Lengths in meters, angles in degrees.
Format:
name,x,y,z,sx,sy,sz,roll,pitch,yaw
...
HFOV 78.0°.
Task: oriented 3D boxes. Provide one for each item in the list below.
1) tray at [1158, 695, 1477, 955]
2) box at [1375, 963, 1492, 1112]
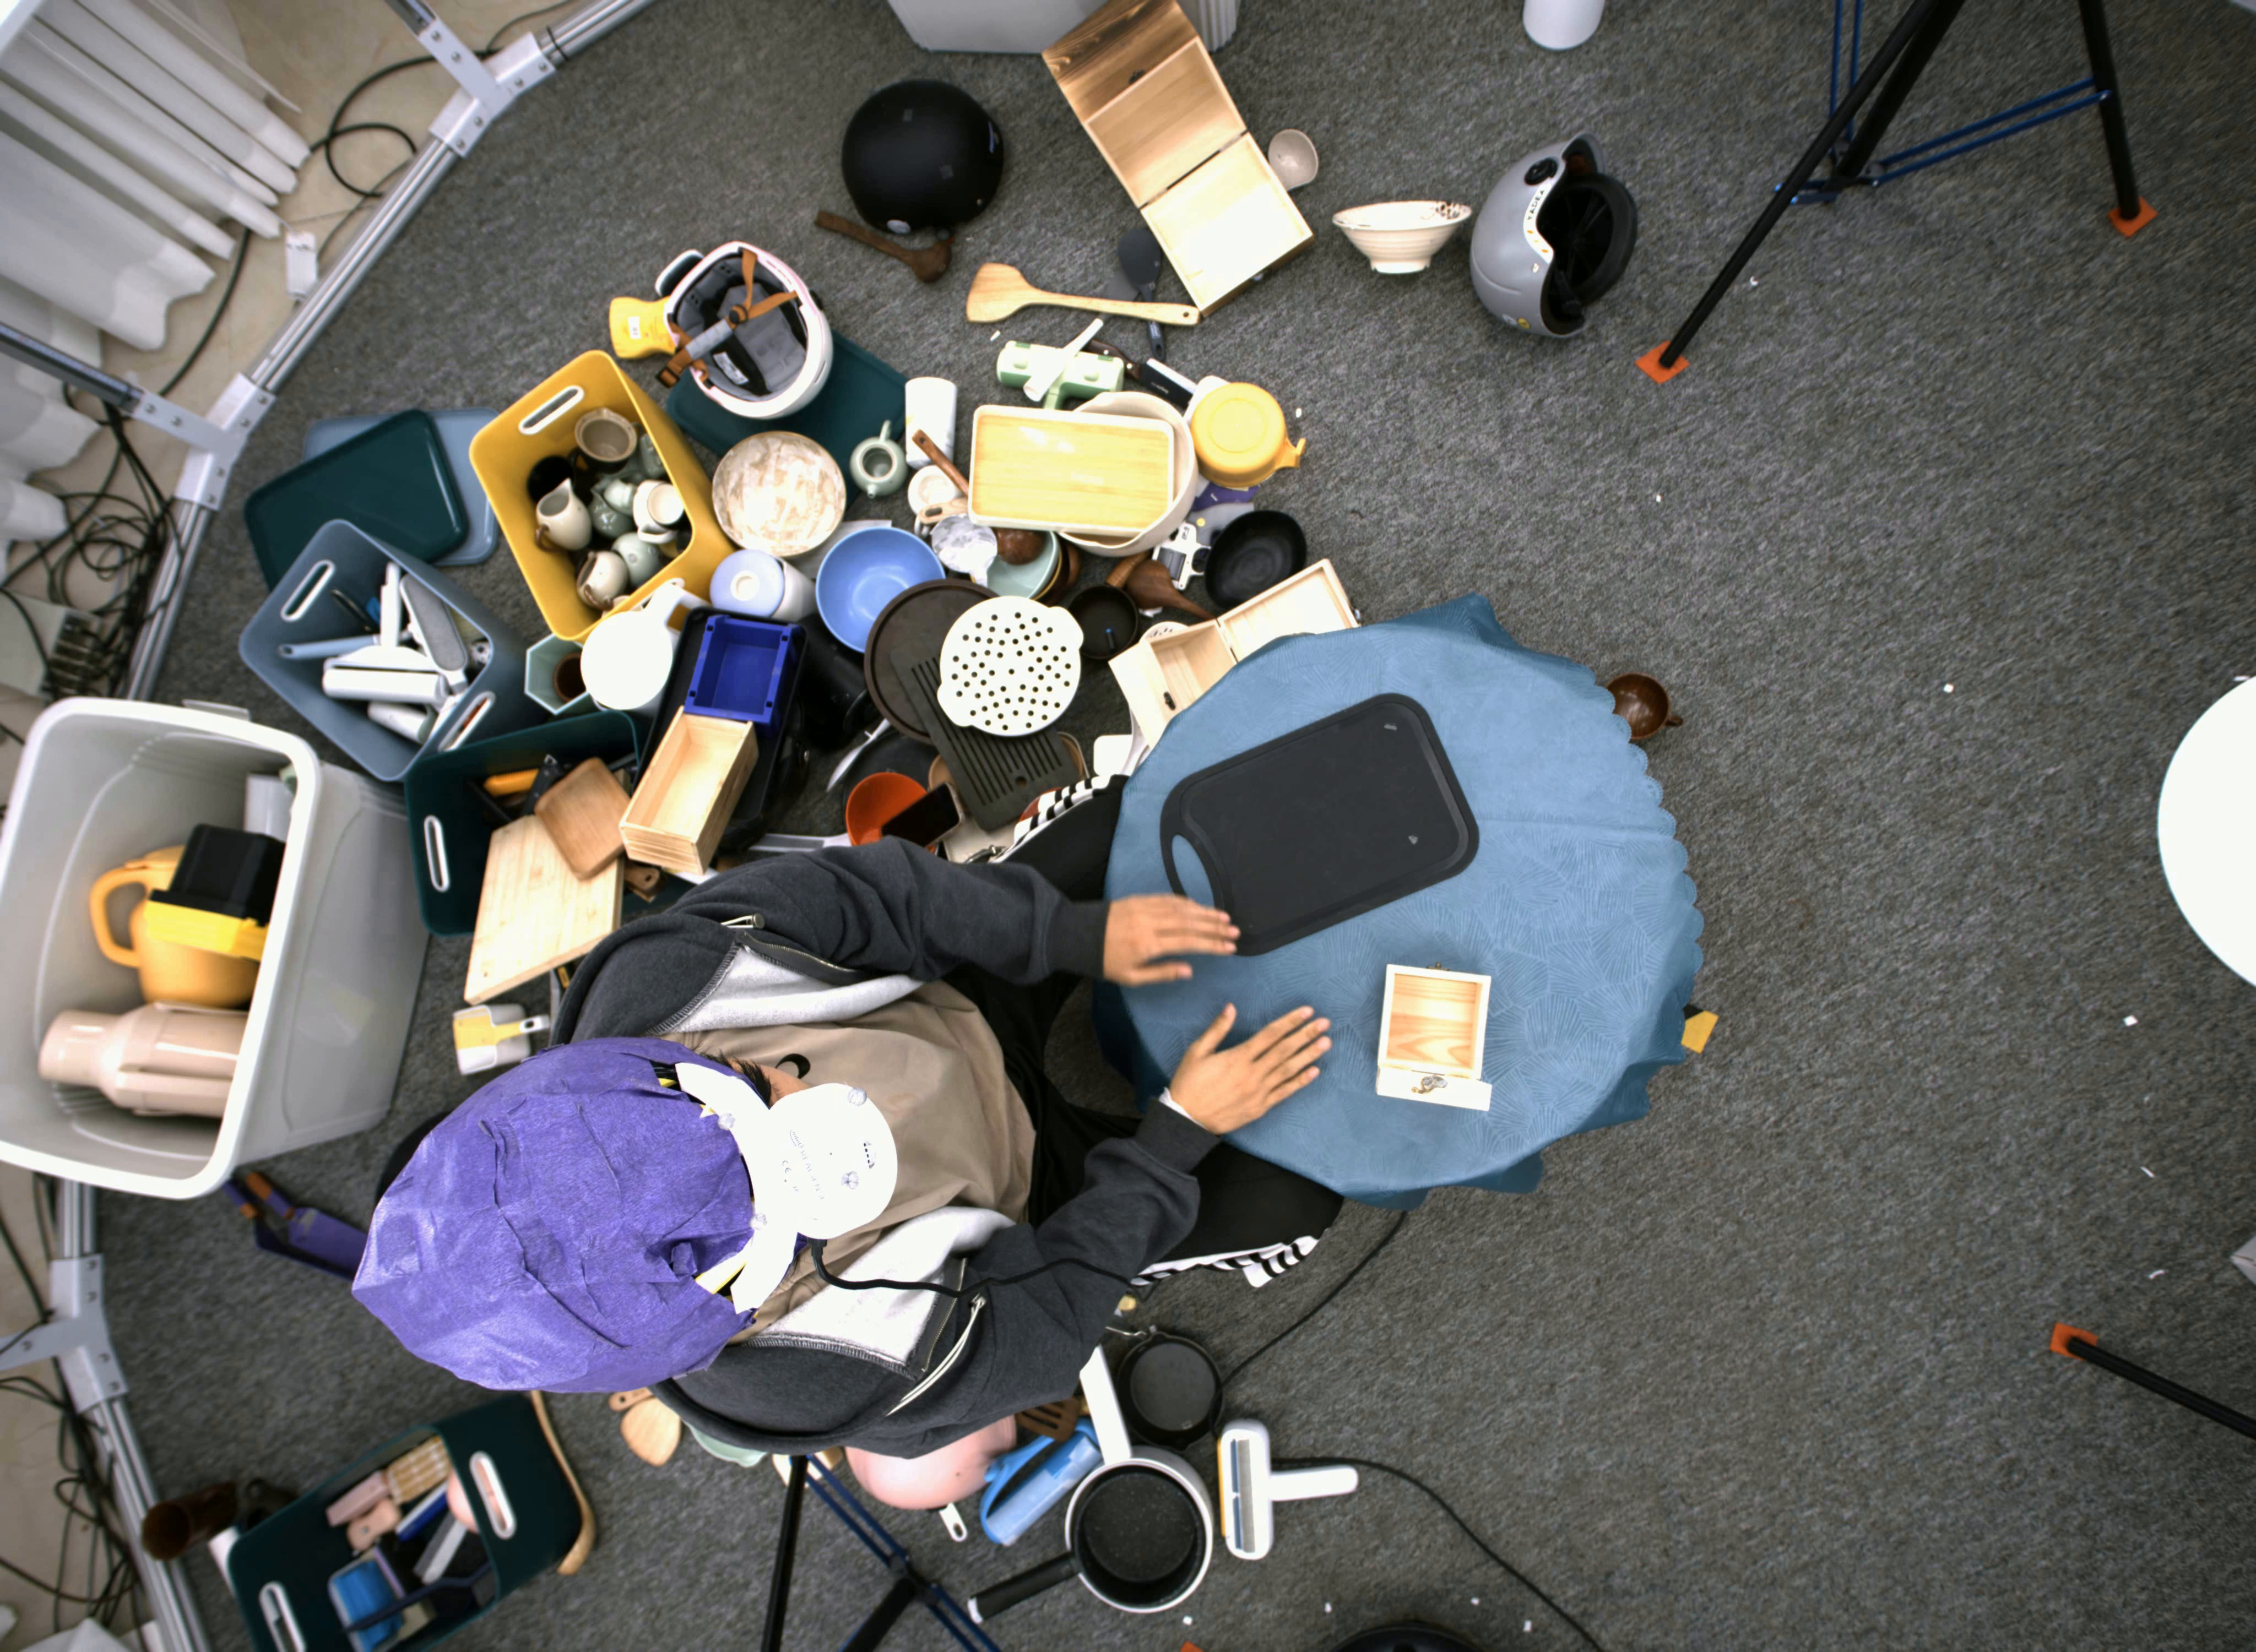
name,x,y,z,sx,sy,sz,roll,pitch,yaw
tray,0.194,0.002,1.474,0.327,0.010,0.210,-22,83,8
box,0.301,0.199,1.353,0.103,0.184,0.133,6,87,10
